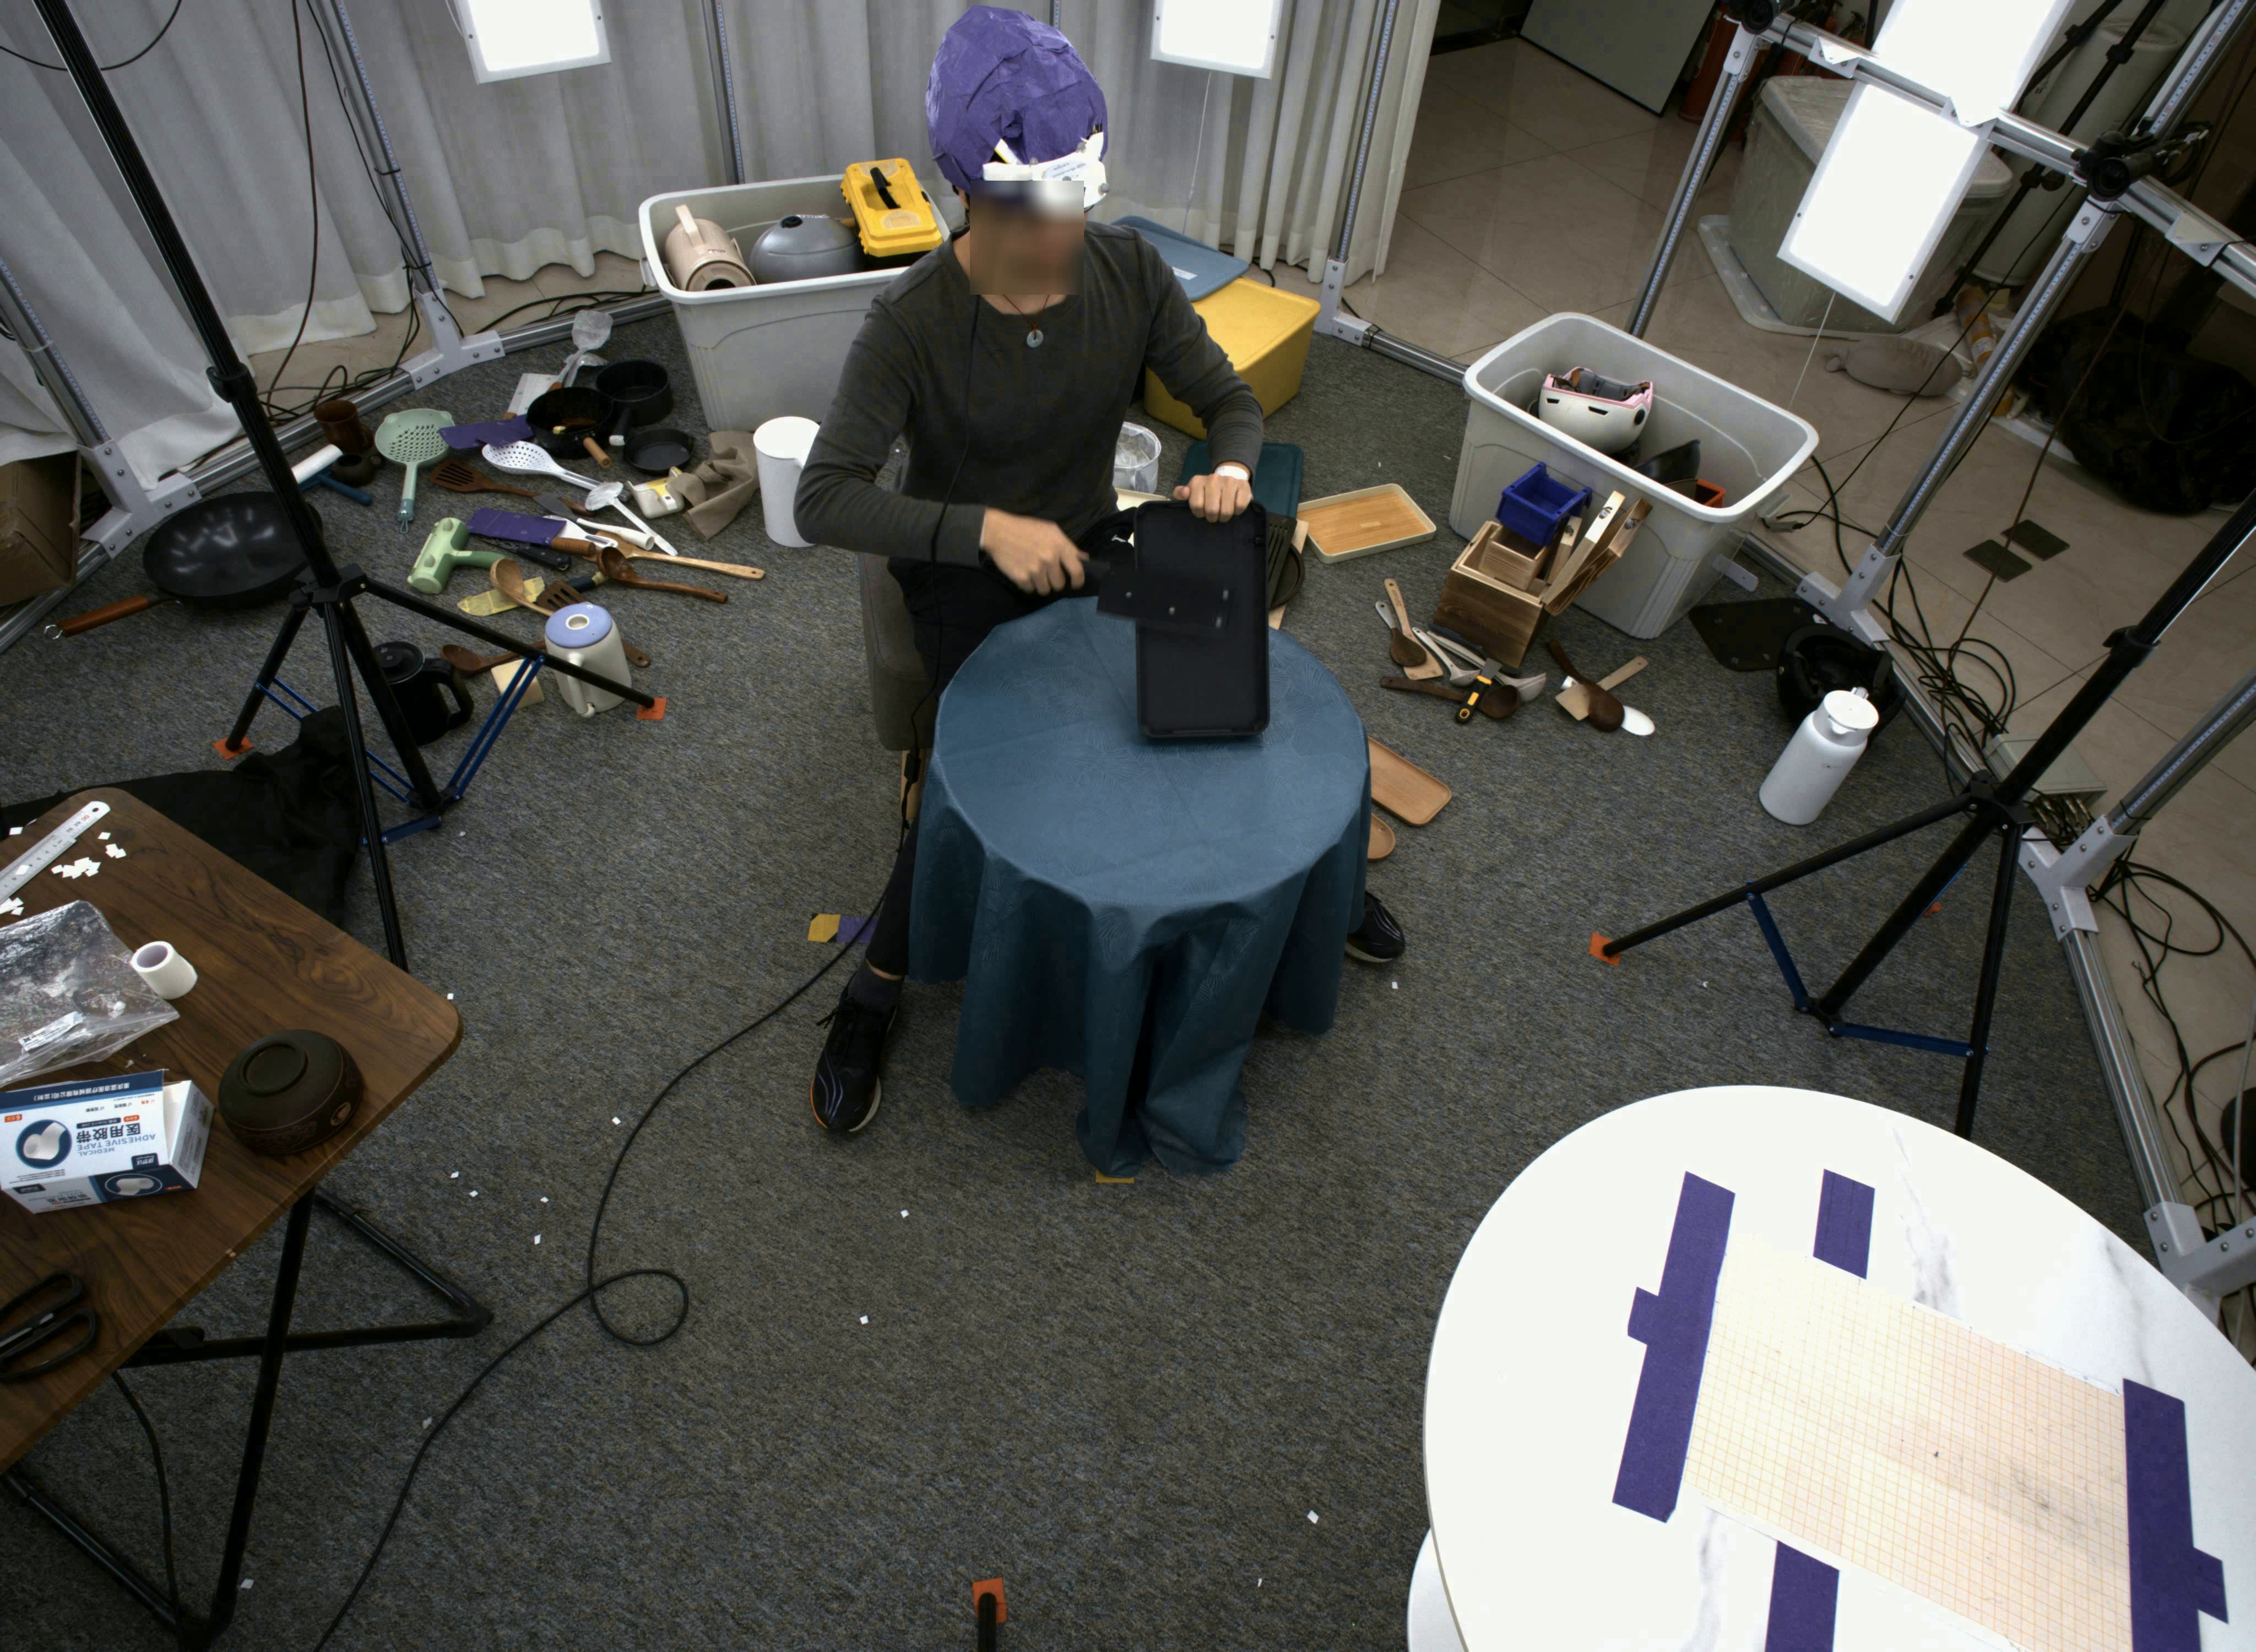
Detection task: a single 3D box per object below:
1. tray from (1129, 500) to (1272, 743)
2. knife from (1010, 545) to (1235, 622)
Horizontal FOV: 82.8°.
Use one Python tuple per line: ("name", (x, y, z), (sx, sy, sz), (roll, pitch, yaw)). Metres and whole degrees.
("tray", (0.099, -0.277, 1.752), (0.184, 0.316, 0.037), (-4, 7, -6))
("knife", (-0.006, -0.326, 1.720), (0.302, 0.080, 0.021), (12, 5, -3))
